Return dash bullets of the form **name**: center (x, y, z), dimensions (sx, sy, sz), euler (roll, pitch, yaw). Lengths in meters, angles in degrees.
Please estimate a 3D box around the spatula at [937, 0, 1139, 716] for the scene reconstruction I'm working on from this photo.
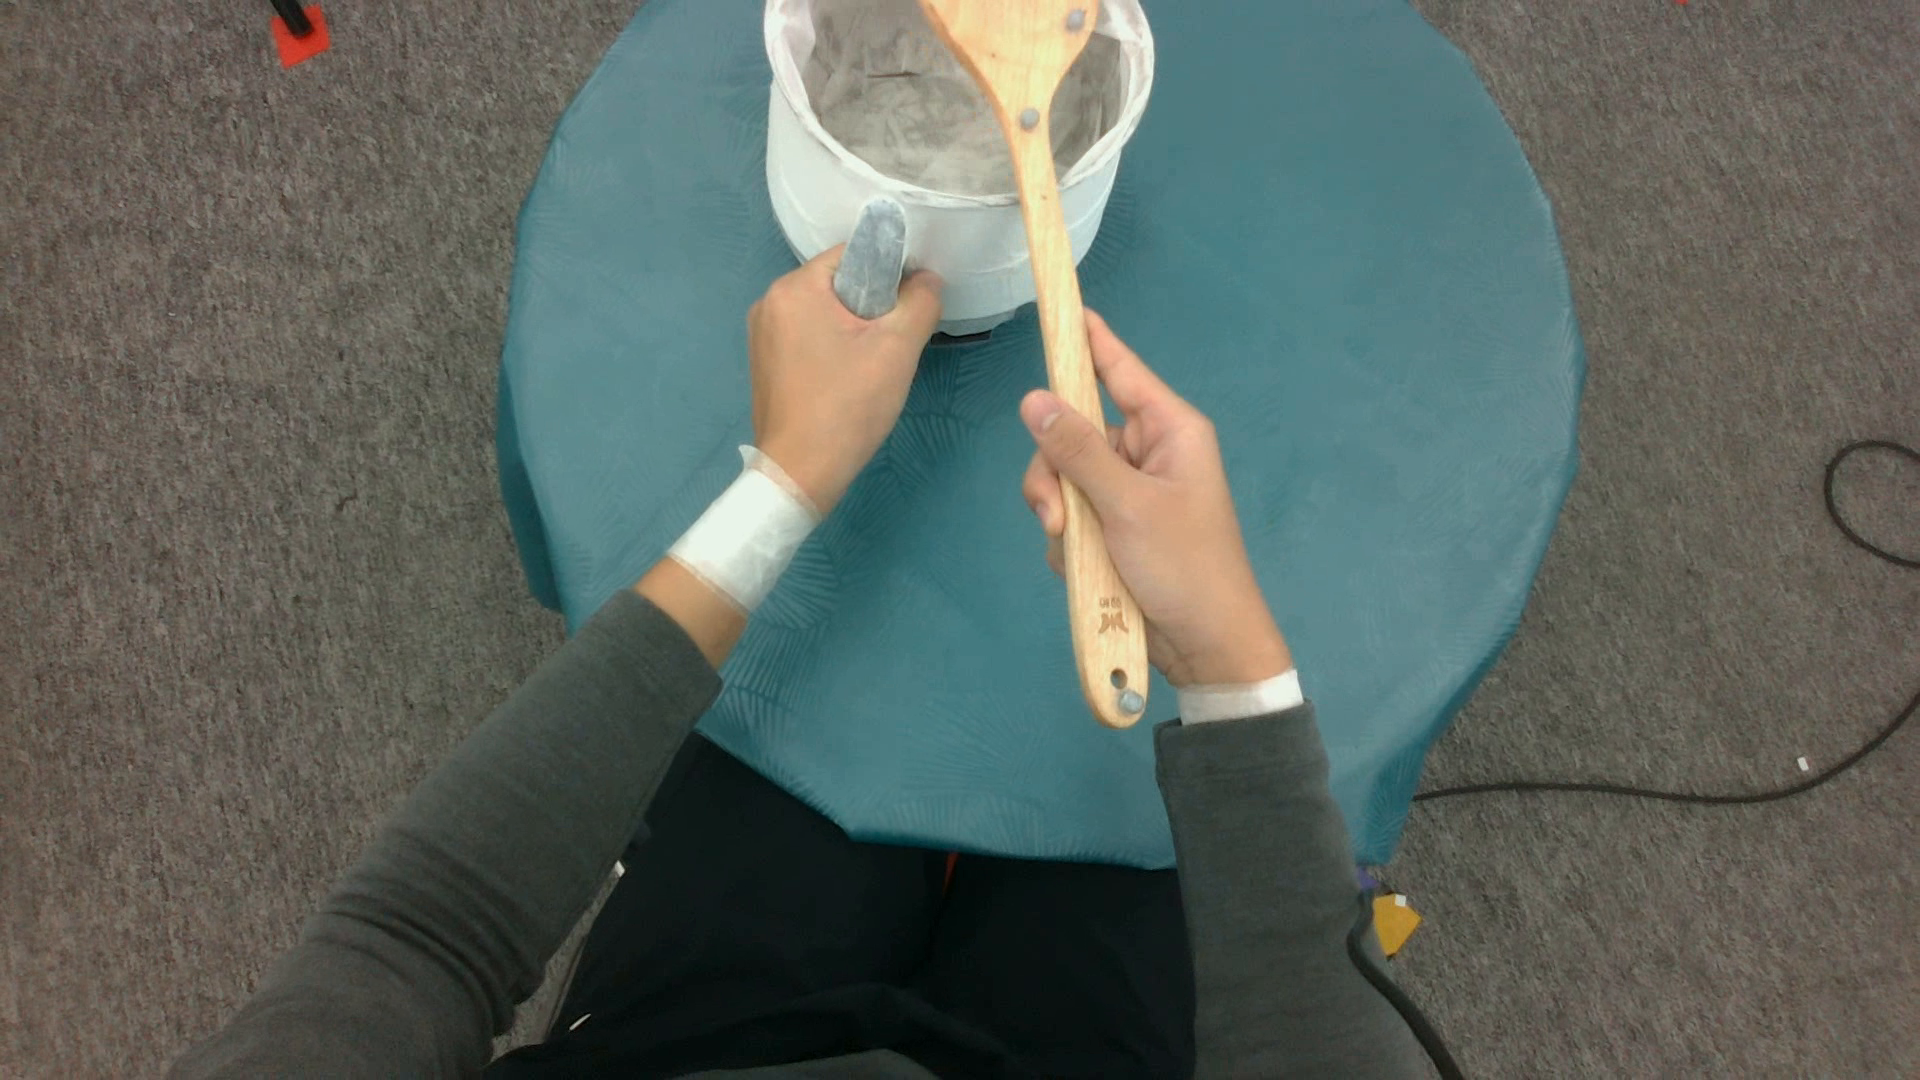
- **spatula**: center (0.041, -0.121, 0.577), dimensions (0.096, 0.018, 0.391), euler (0, 73, -25)

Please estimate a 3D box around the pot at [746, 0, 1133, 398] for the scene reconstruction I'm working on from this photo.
- **pot**: center (-0.025, -0.187, 0.671), dimensions (0.179, 0.136, 0.234), euler (20, 68, -1)
